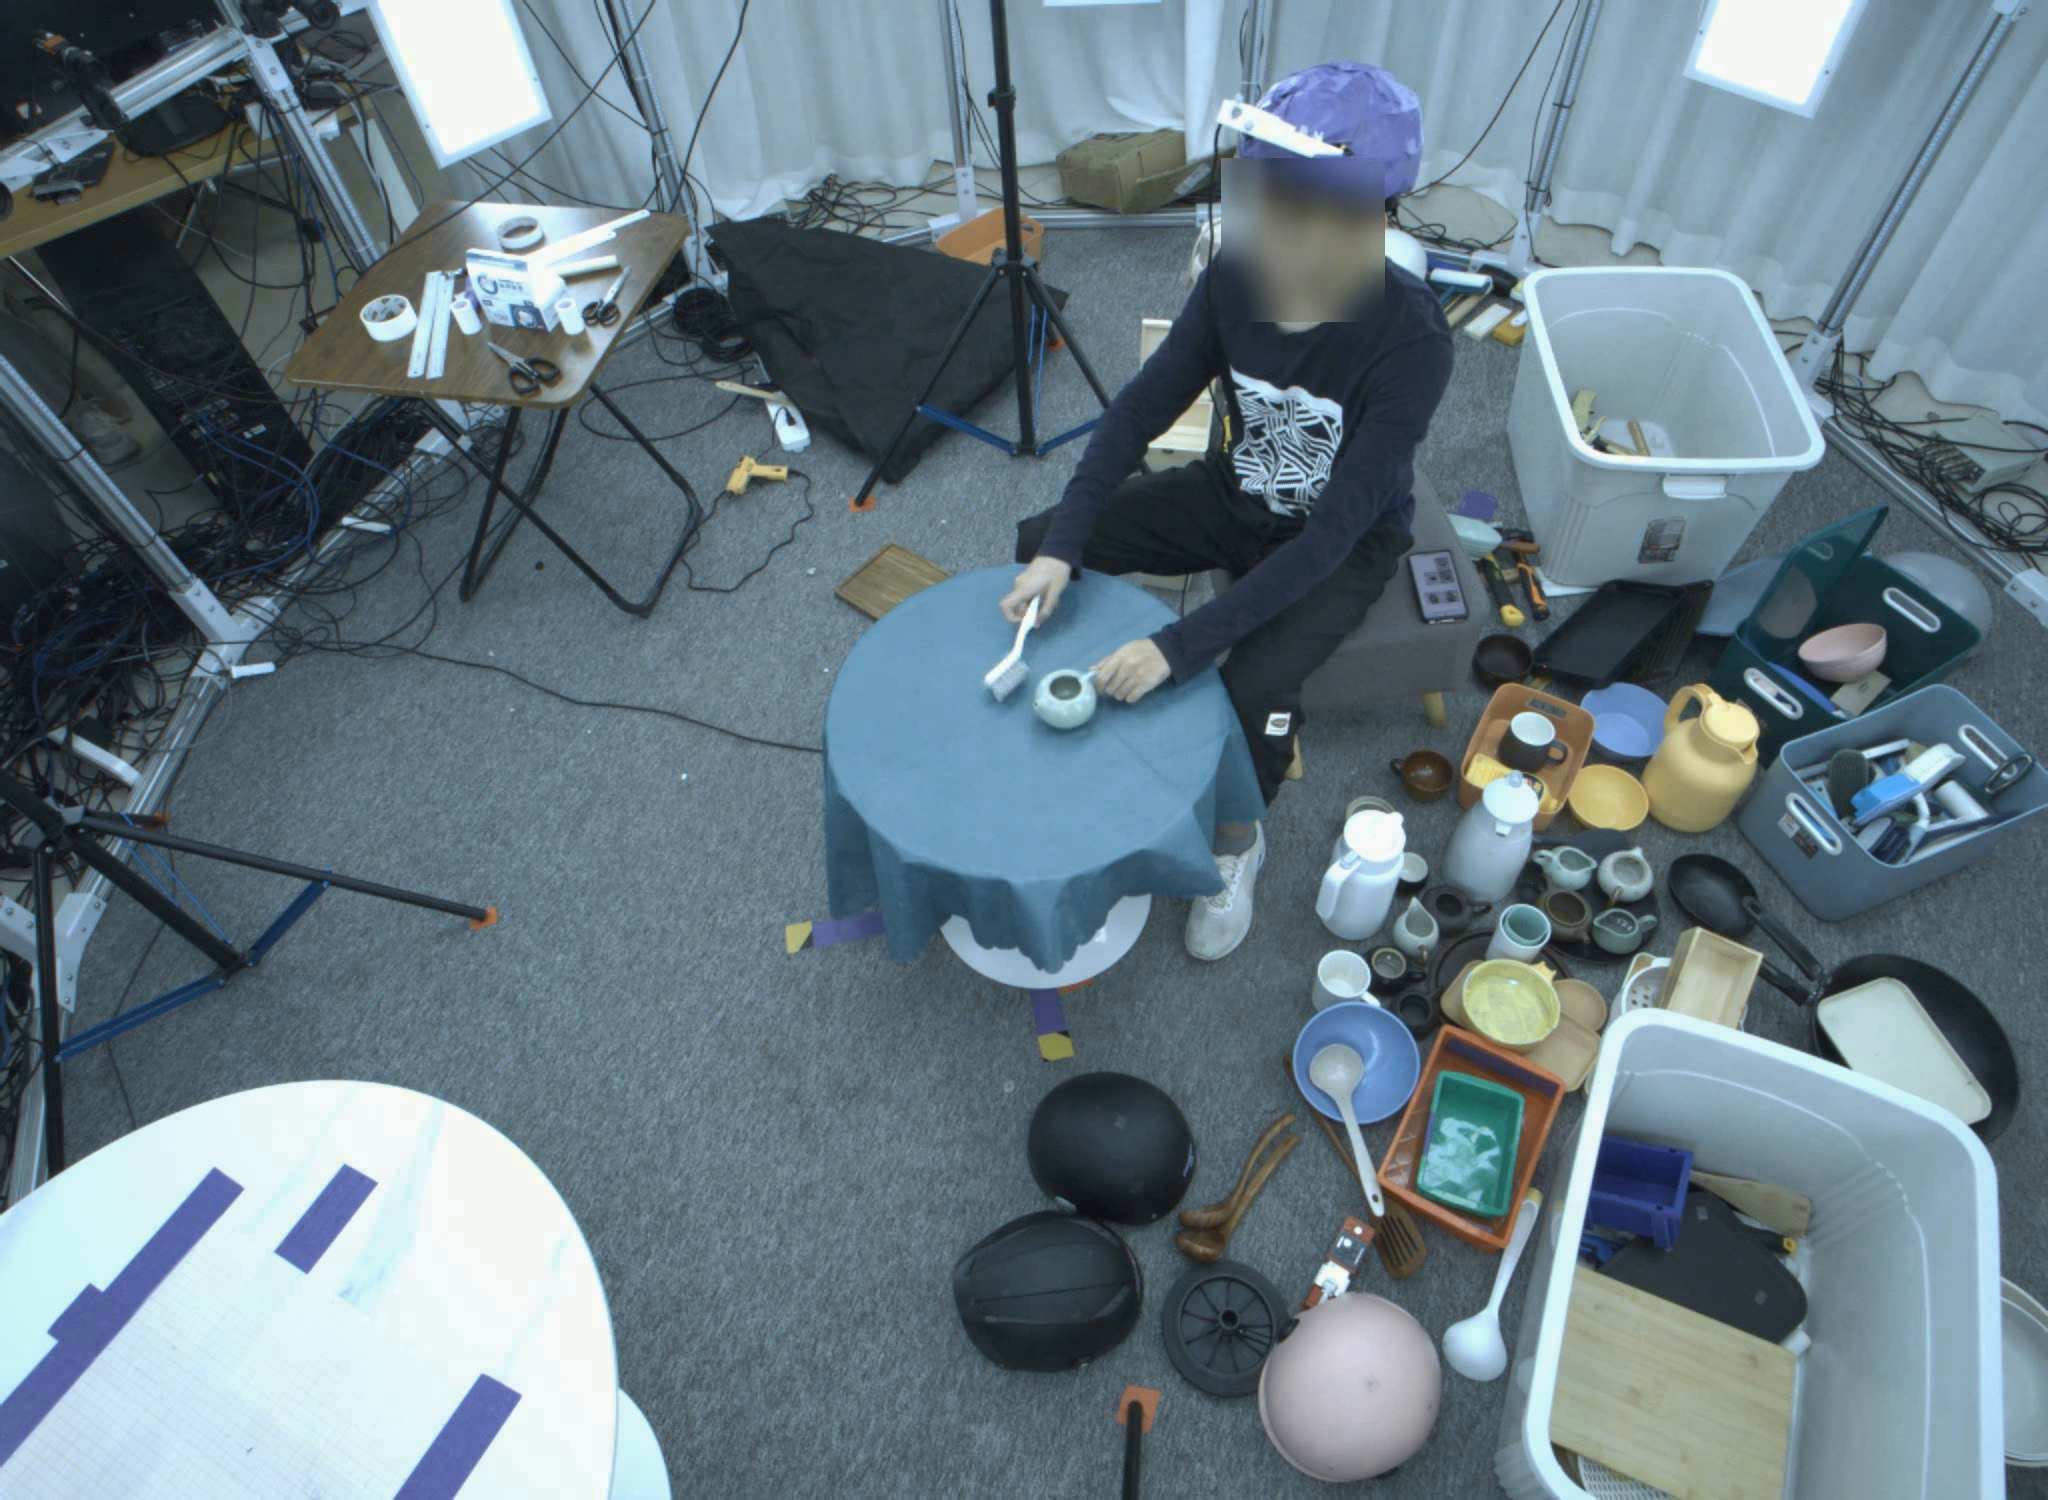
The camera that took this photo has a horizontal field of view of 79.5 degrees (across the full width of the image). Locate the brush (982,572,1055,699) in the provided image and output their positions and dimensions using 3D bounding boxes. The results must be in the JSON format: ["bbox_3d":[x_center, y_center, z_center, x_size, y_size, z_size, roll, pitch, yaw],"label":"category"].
[{"bbox_3d":[0.009,-0.177,1.868,0.049,0.035,0.244,21,61,16],"label":"brush"}]

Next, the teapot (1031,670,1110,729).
[{"bbox_3d":[0.069,-0.077,1.797,0.129,0.062,0.089,-25,52,-15],"label":"teapot"}]
